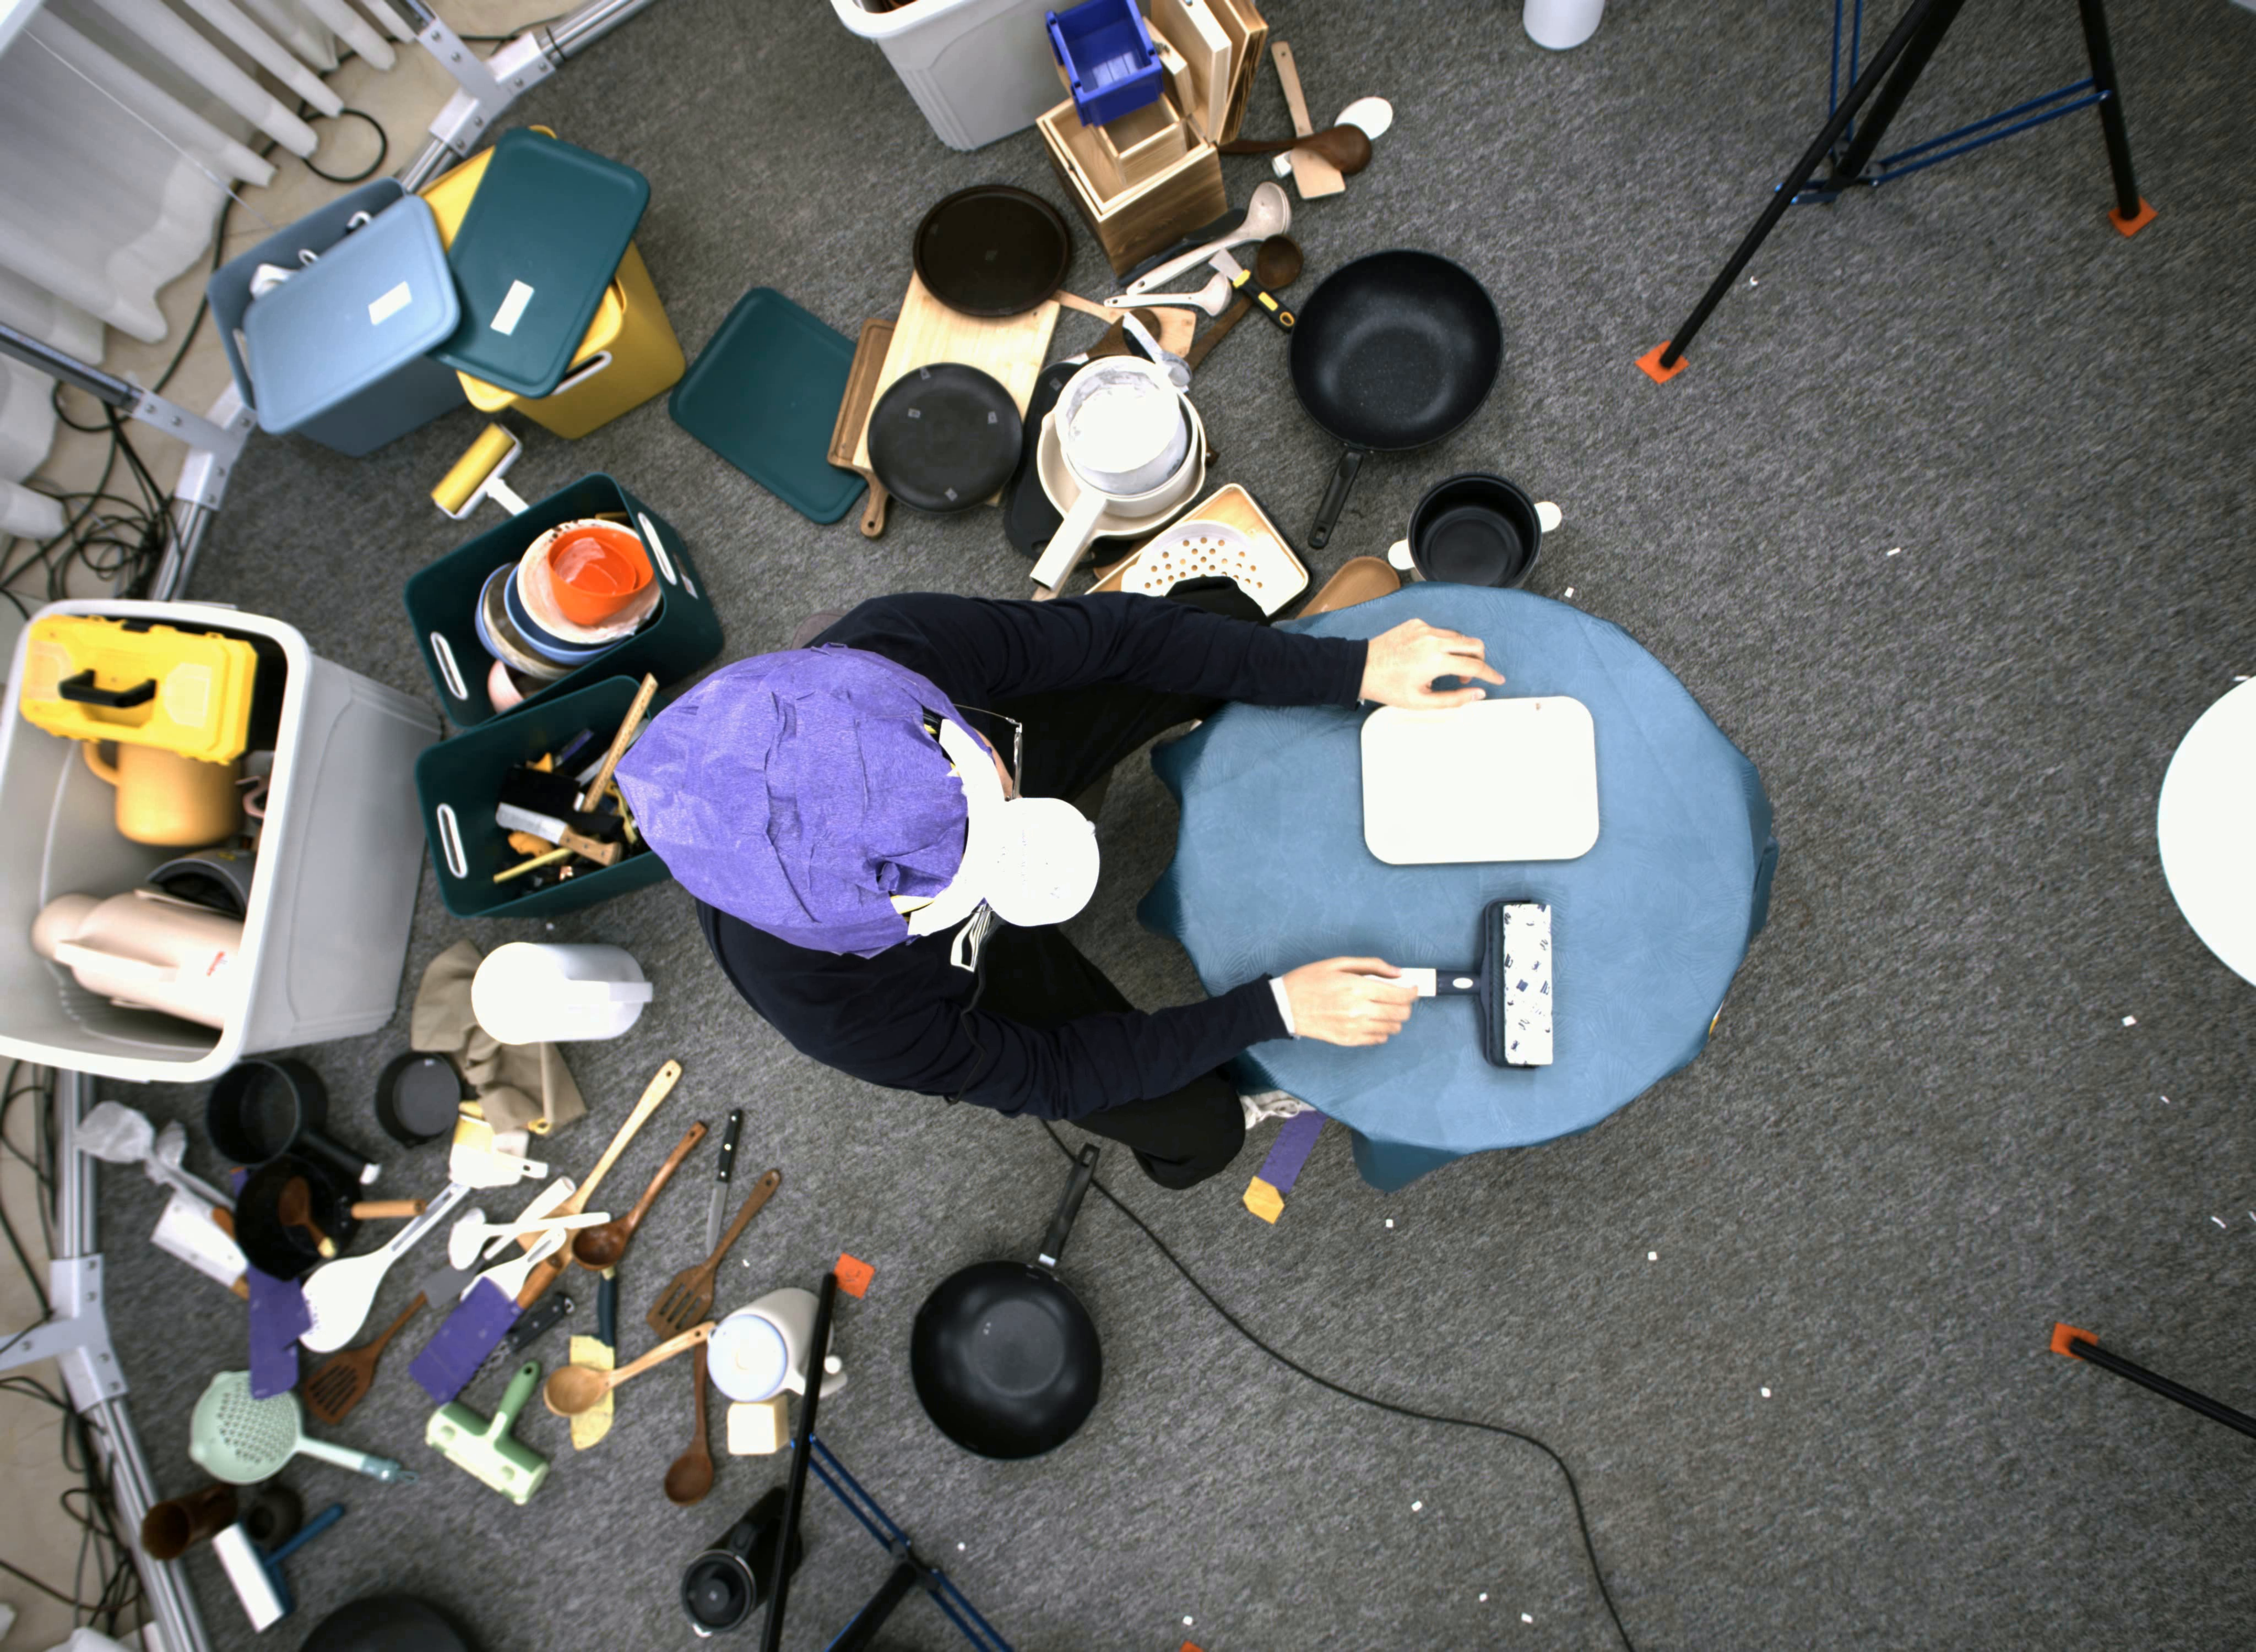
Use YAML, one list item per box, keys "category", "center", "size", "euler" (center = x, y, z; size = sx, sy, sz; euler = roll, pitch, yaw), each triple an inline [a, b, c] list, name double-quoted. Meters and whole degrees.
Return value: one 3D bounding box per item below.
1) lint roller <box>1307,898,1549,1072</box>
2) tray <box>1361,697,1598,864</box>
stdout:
- category: "lint roller"
  center: [0.308, 0.162, 1.427]
  size: [0.248, 0.050, 0.175]
  euler: [-2, 87, 13]
- category: "tray"
  center: [0.366, -0.048, 1.439]
  size: [0.241, 0.017, 0.170]
  euler: [-2, 87, 11]
